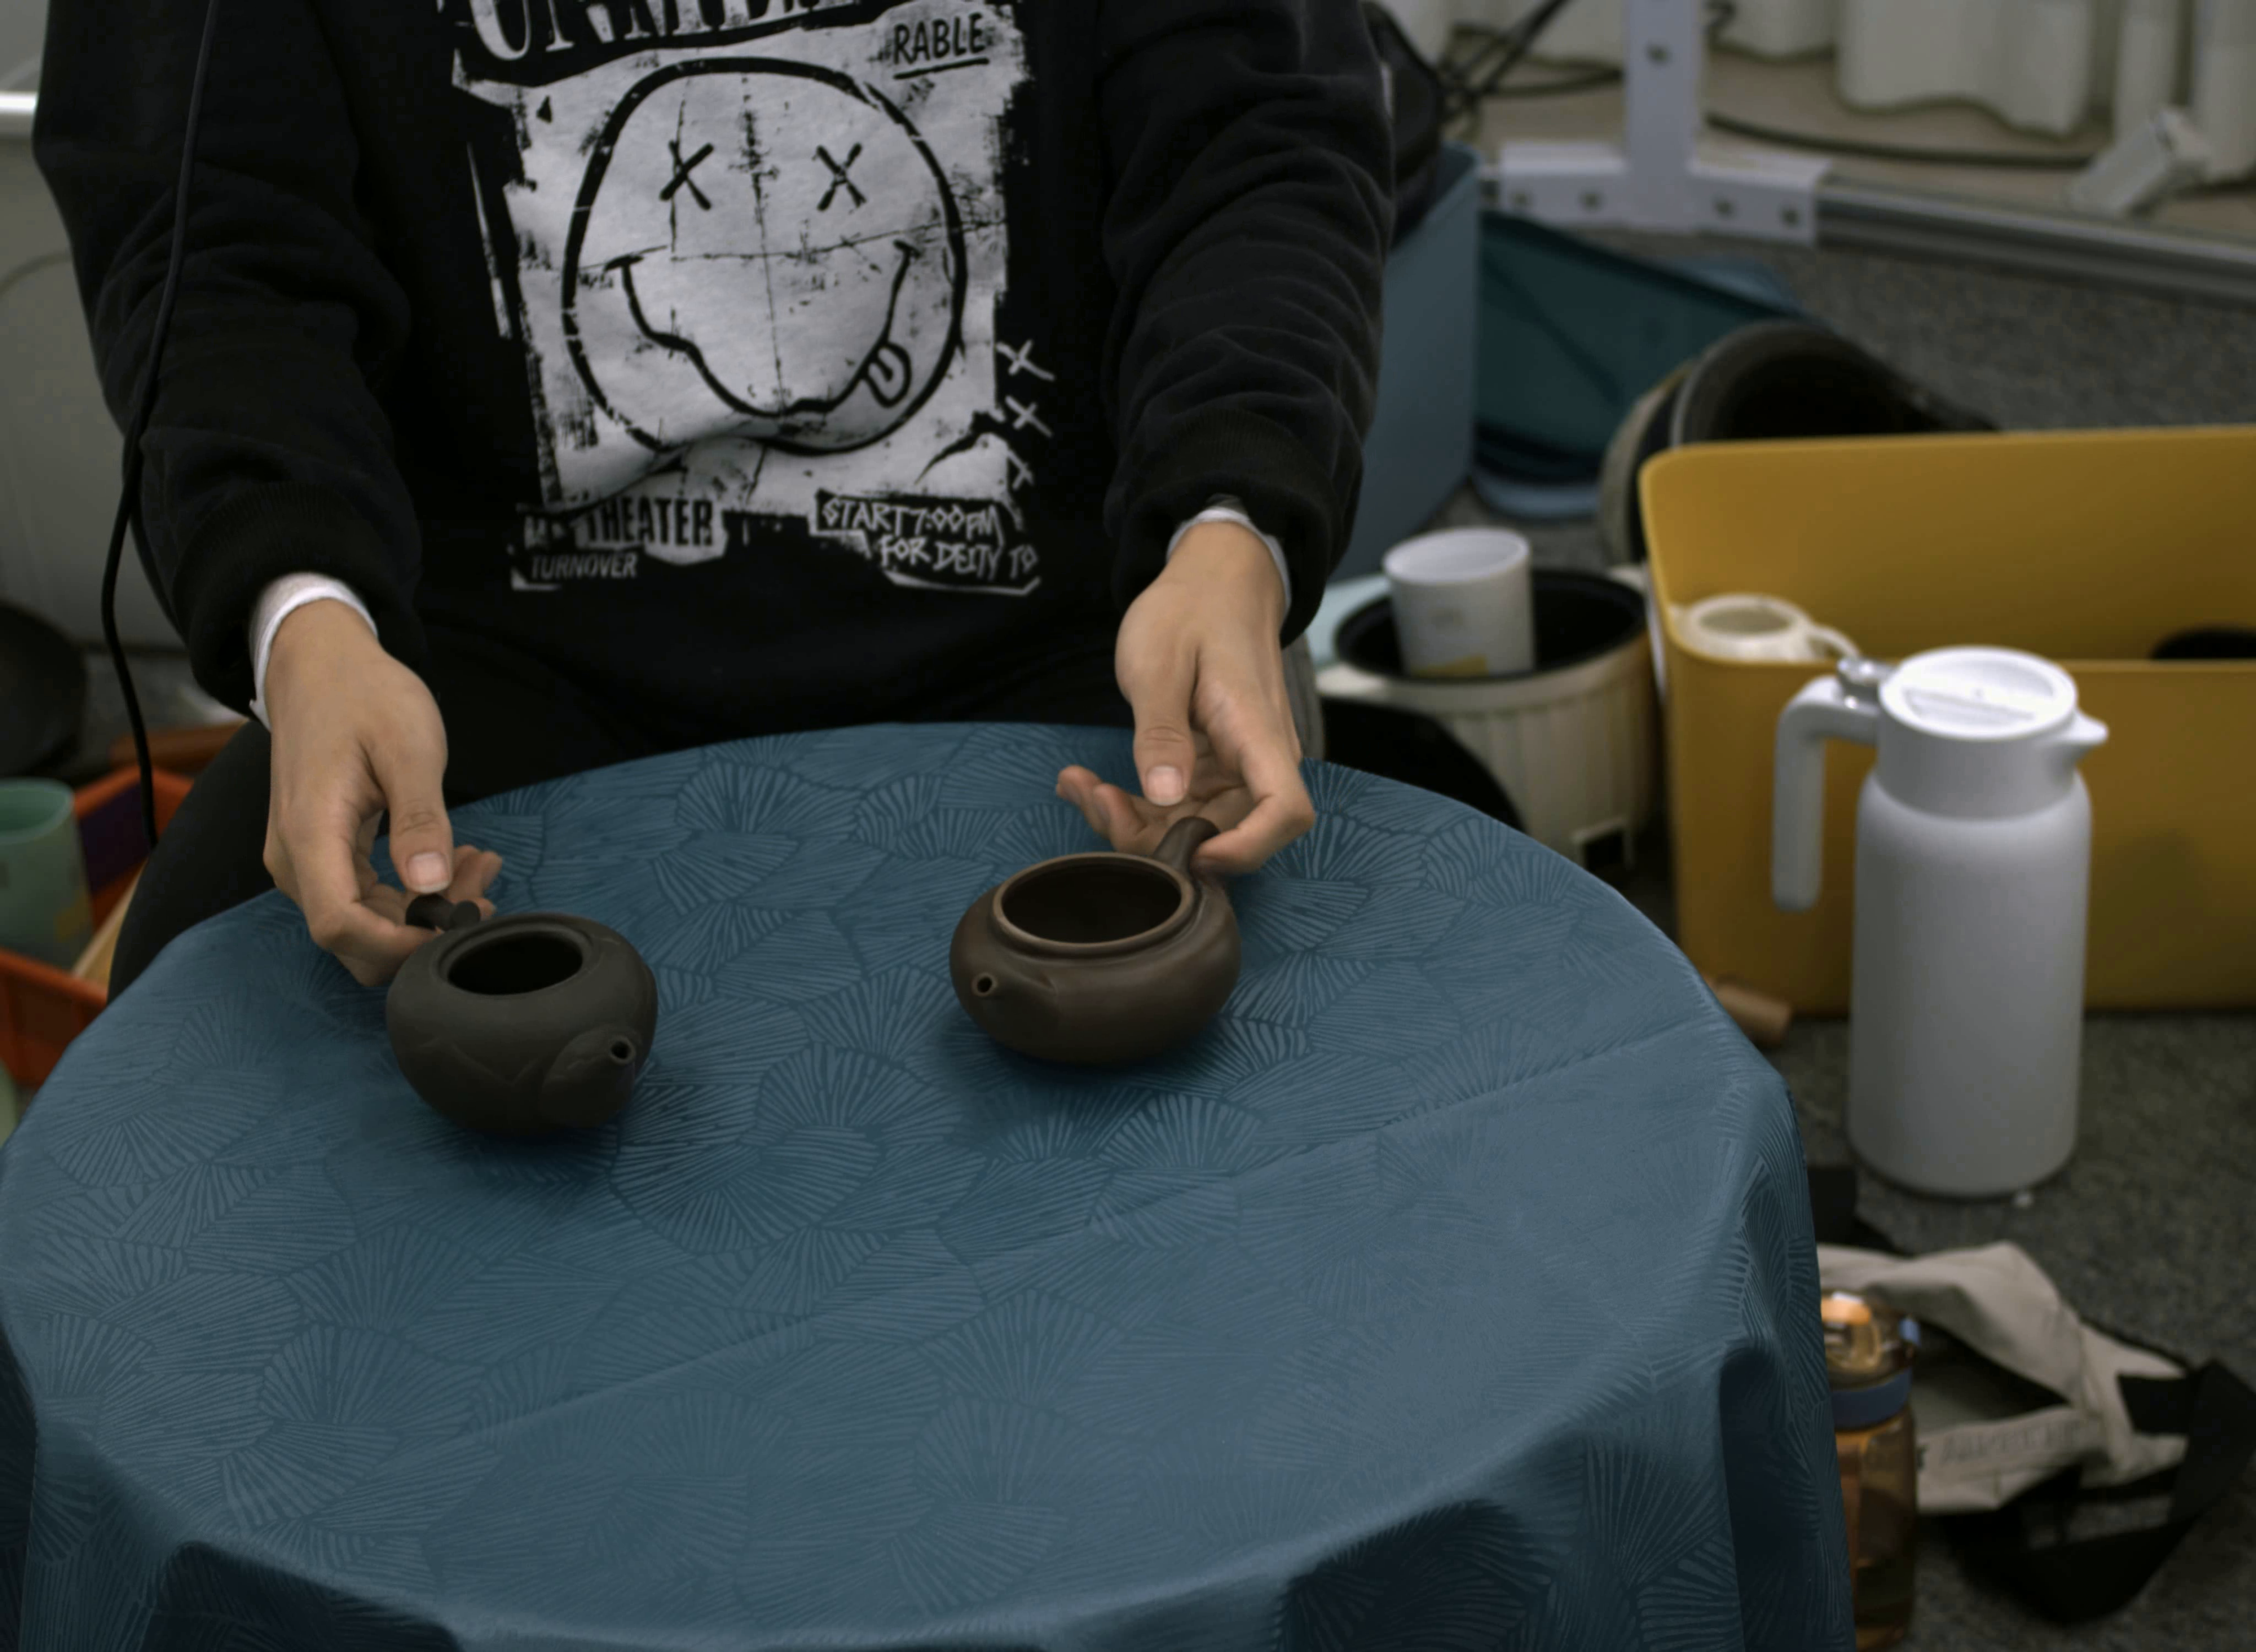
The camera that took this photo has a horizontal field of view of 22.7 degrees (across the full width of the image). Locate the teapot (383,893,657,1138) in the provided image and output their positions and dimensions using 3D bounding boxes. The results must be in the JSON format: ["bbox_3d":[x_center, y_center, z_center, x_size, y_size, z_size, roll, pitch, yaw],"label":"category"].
[{"bbox_3d":[-0.208,0.067,1.917,0.093,0.064,0.154,-17,31,-30],"label":"teapot"}]

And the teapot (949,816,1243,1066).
[{"bbox_3d":[-0.009,0.042,1.954,0.102,0.053,0.156,12,31,23],"label":"teapot"}]
